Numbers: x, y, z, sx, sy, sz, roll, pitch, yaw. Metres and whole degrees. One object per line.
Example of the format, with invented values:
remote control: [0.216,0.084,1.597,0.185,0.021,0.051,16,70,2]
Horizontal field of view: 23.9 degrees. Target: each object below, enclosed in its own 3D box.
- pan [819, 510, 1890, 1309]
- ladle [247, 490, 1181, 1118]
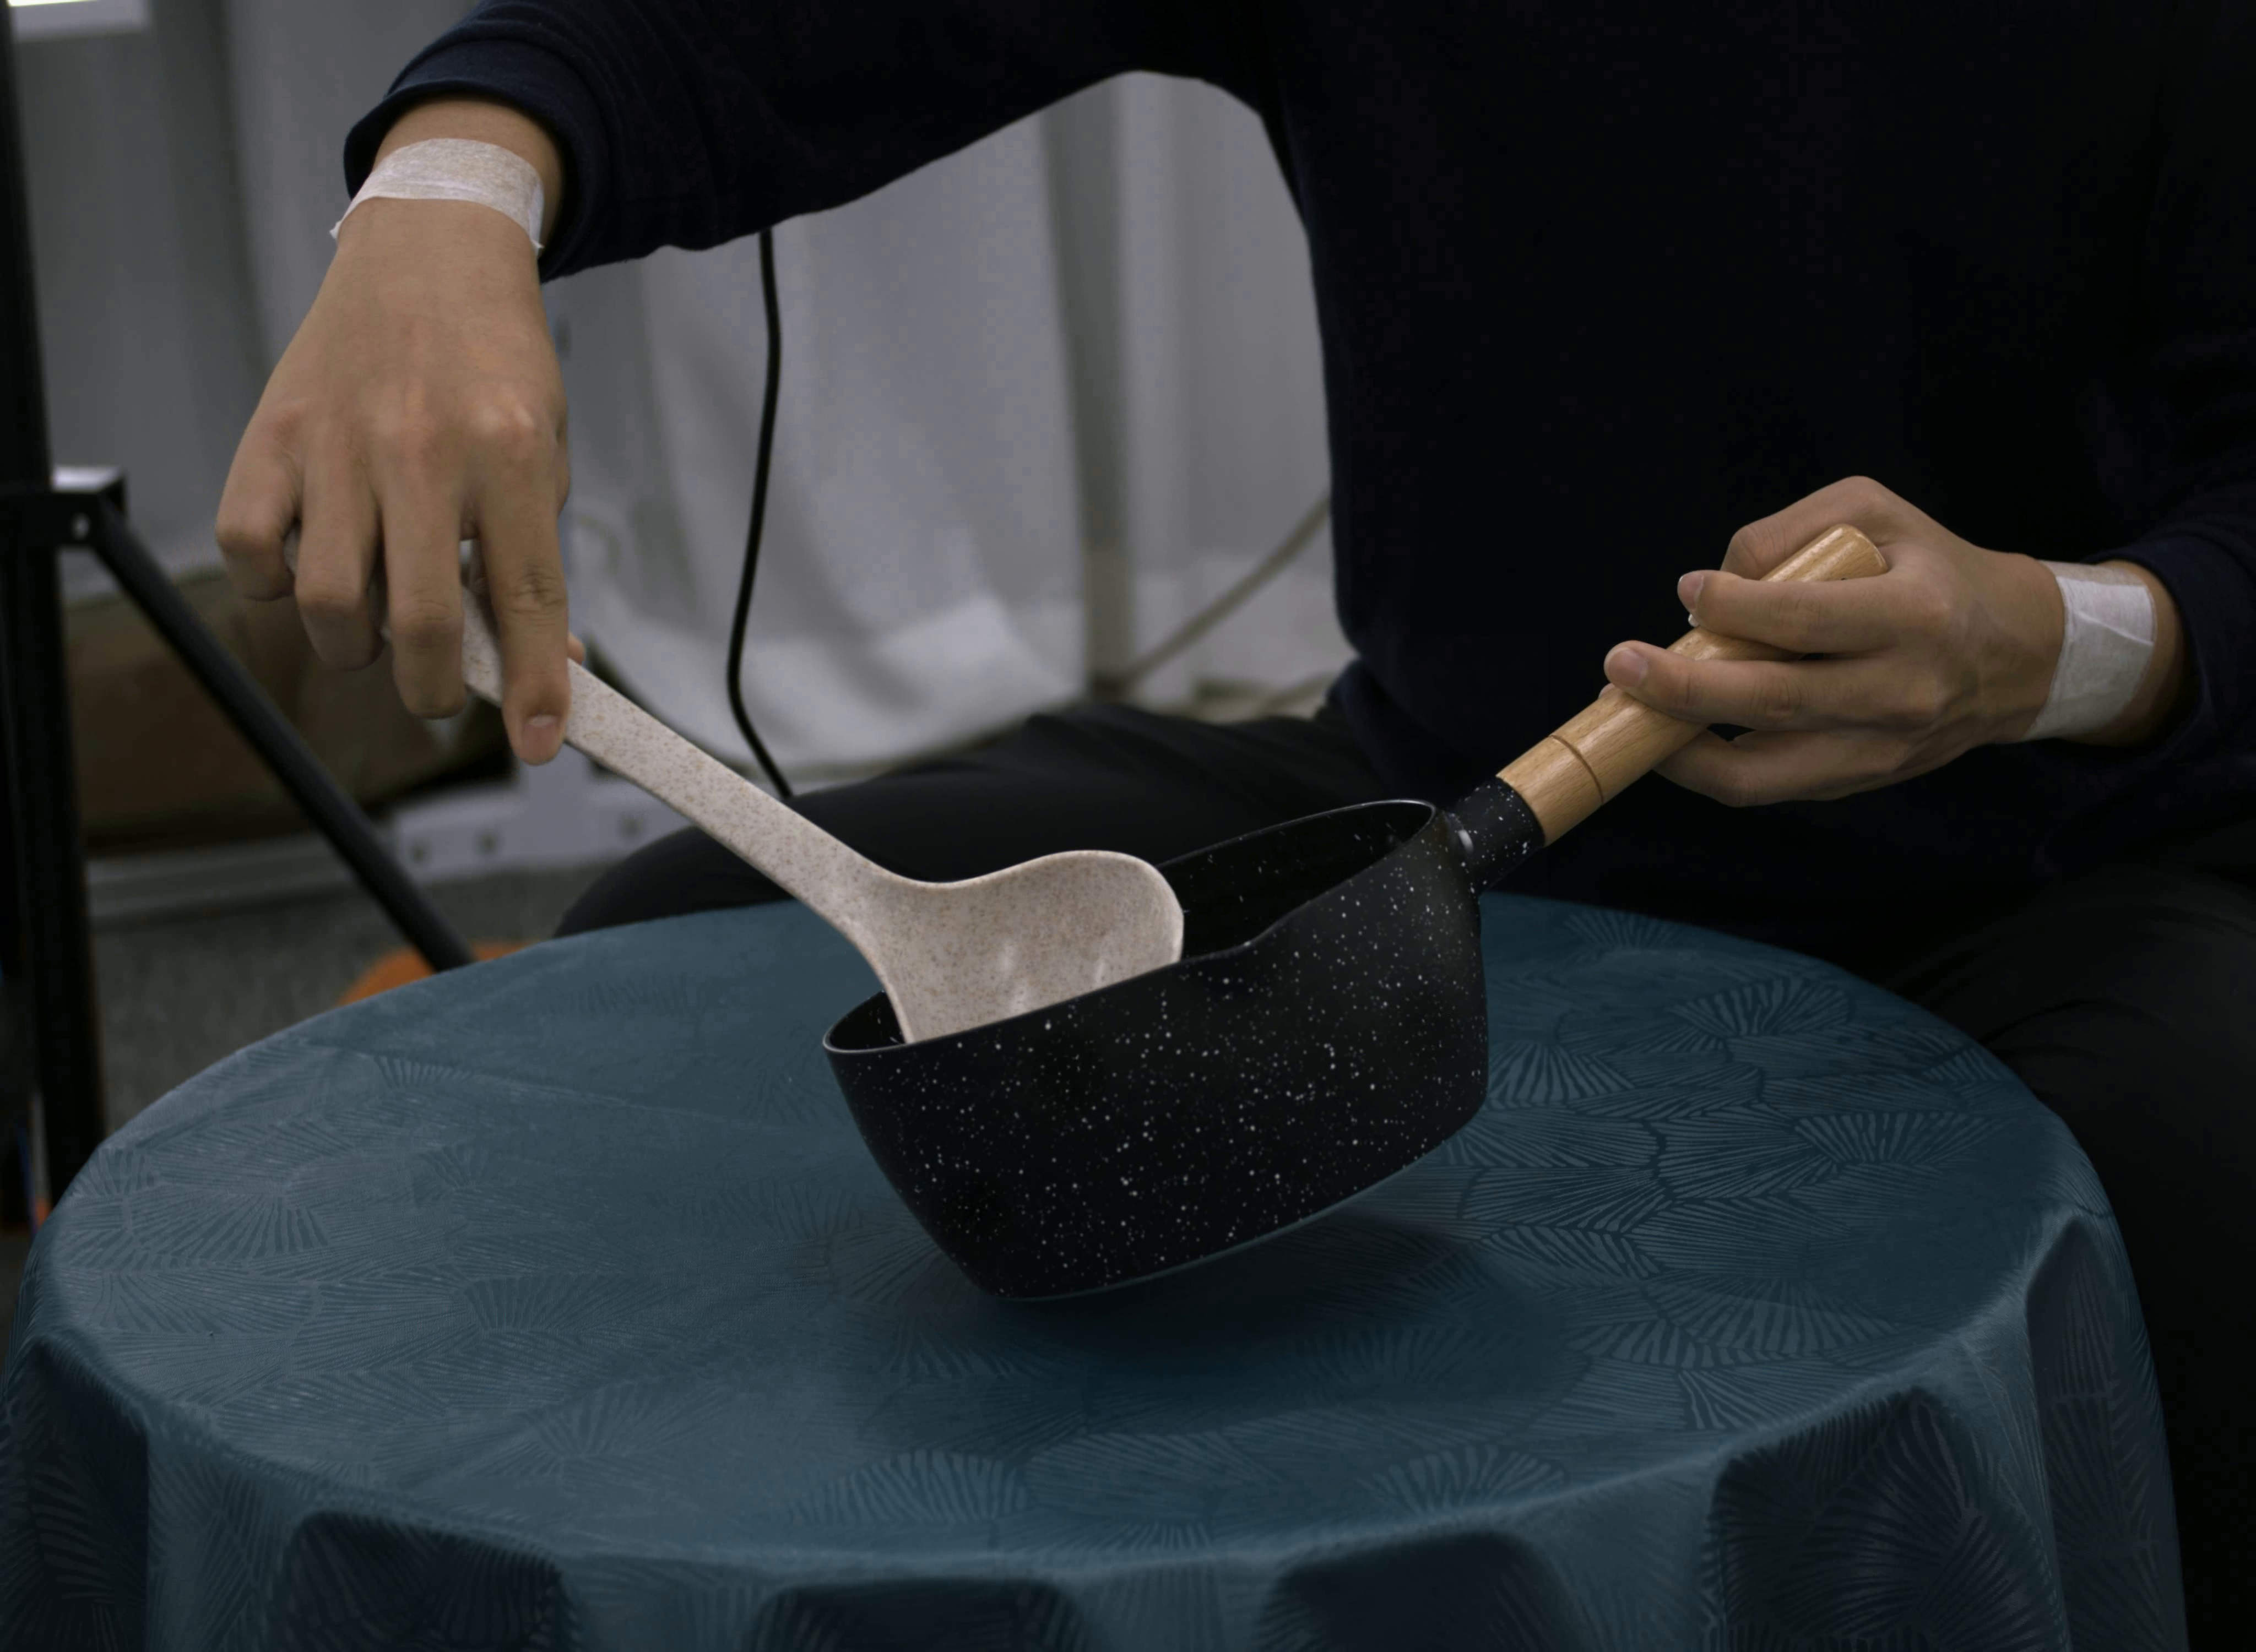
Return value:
pan: [0.081,0.025,1.494,0.338,0.108,0.210,-24,6,-16]
ladle: [-0.111,-0.019,1.420,0.273,0.089,0.070,34,-24,-6]
